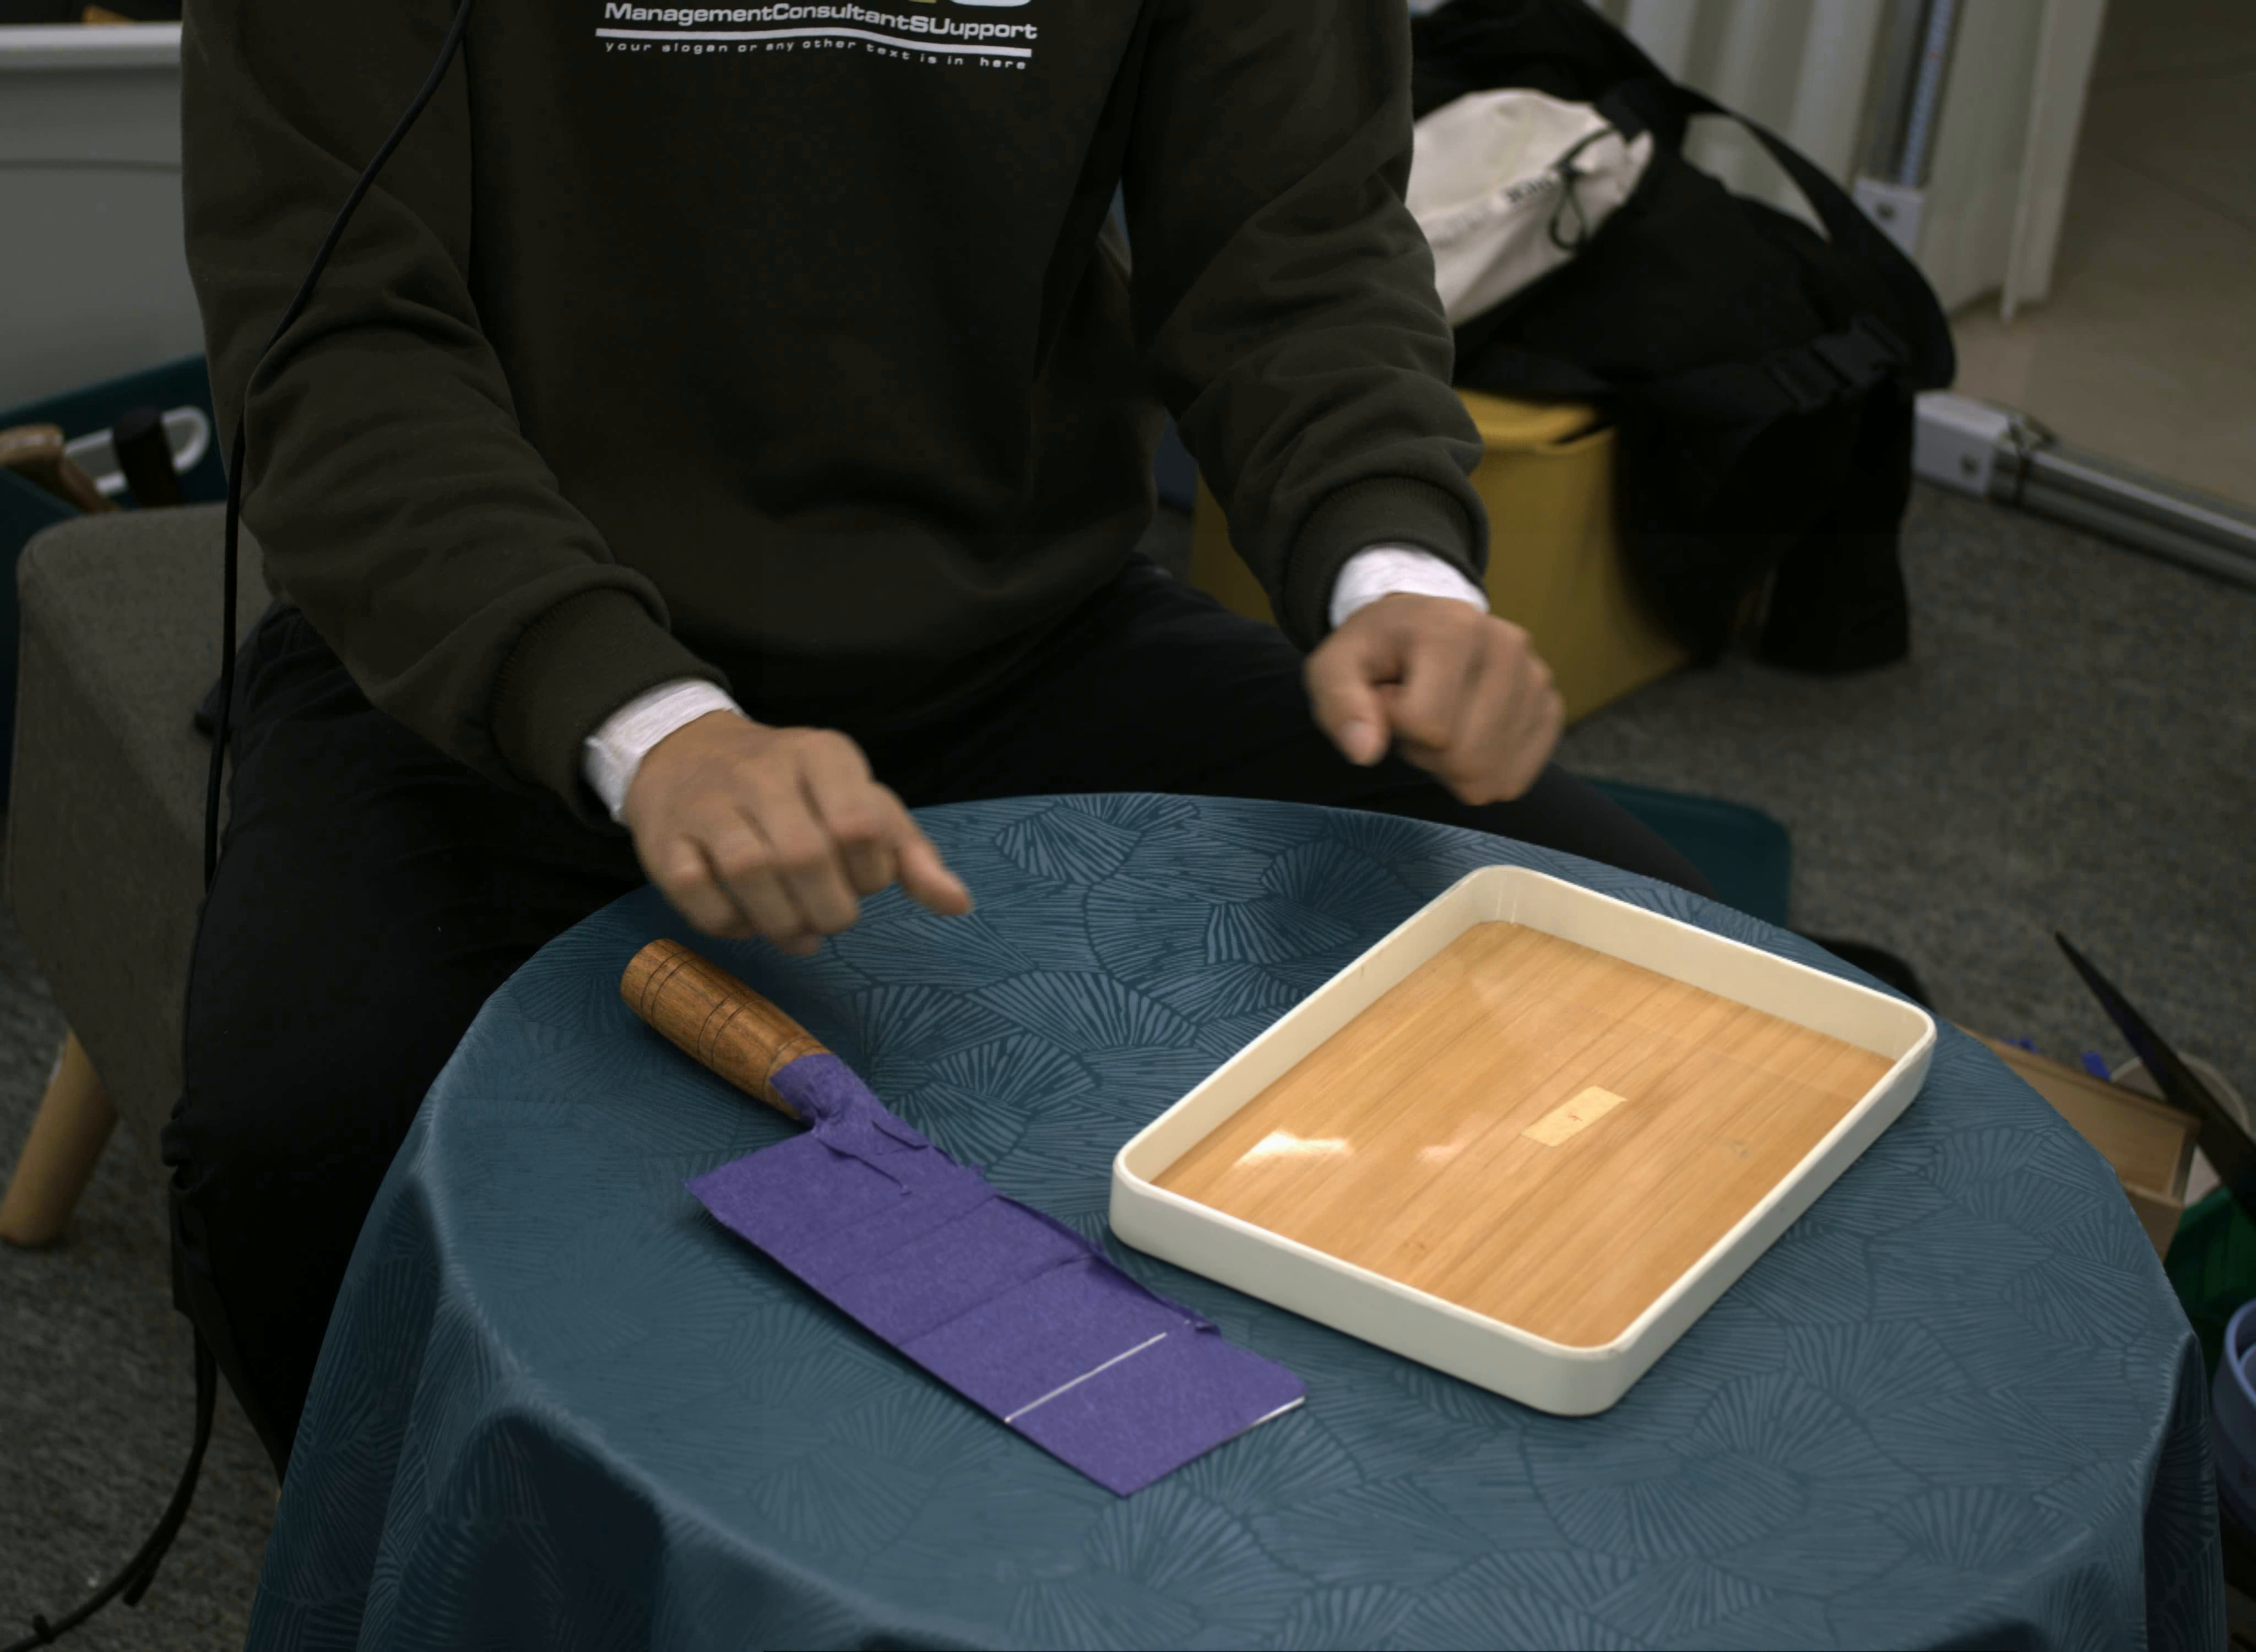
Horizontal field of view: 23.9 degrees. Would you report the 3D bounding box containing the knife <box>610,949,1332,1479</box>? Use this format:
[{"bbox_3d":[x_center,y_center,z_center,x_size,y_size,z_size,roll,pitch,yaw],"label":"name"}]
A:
[{"bbox_3d":[-0.079,0.124,1.756,0.317,0.032,0.103,28,33,35],"label":"knife"}]

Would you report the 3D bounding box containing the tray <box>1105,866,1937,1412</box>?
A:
[{"bbox_3d":[0.141,0.102,1.850,0.192,0.027,0.300,19,29,25],"label":"tray"}]
